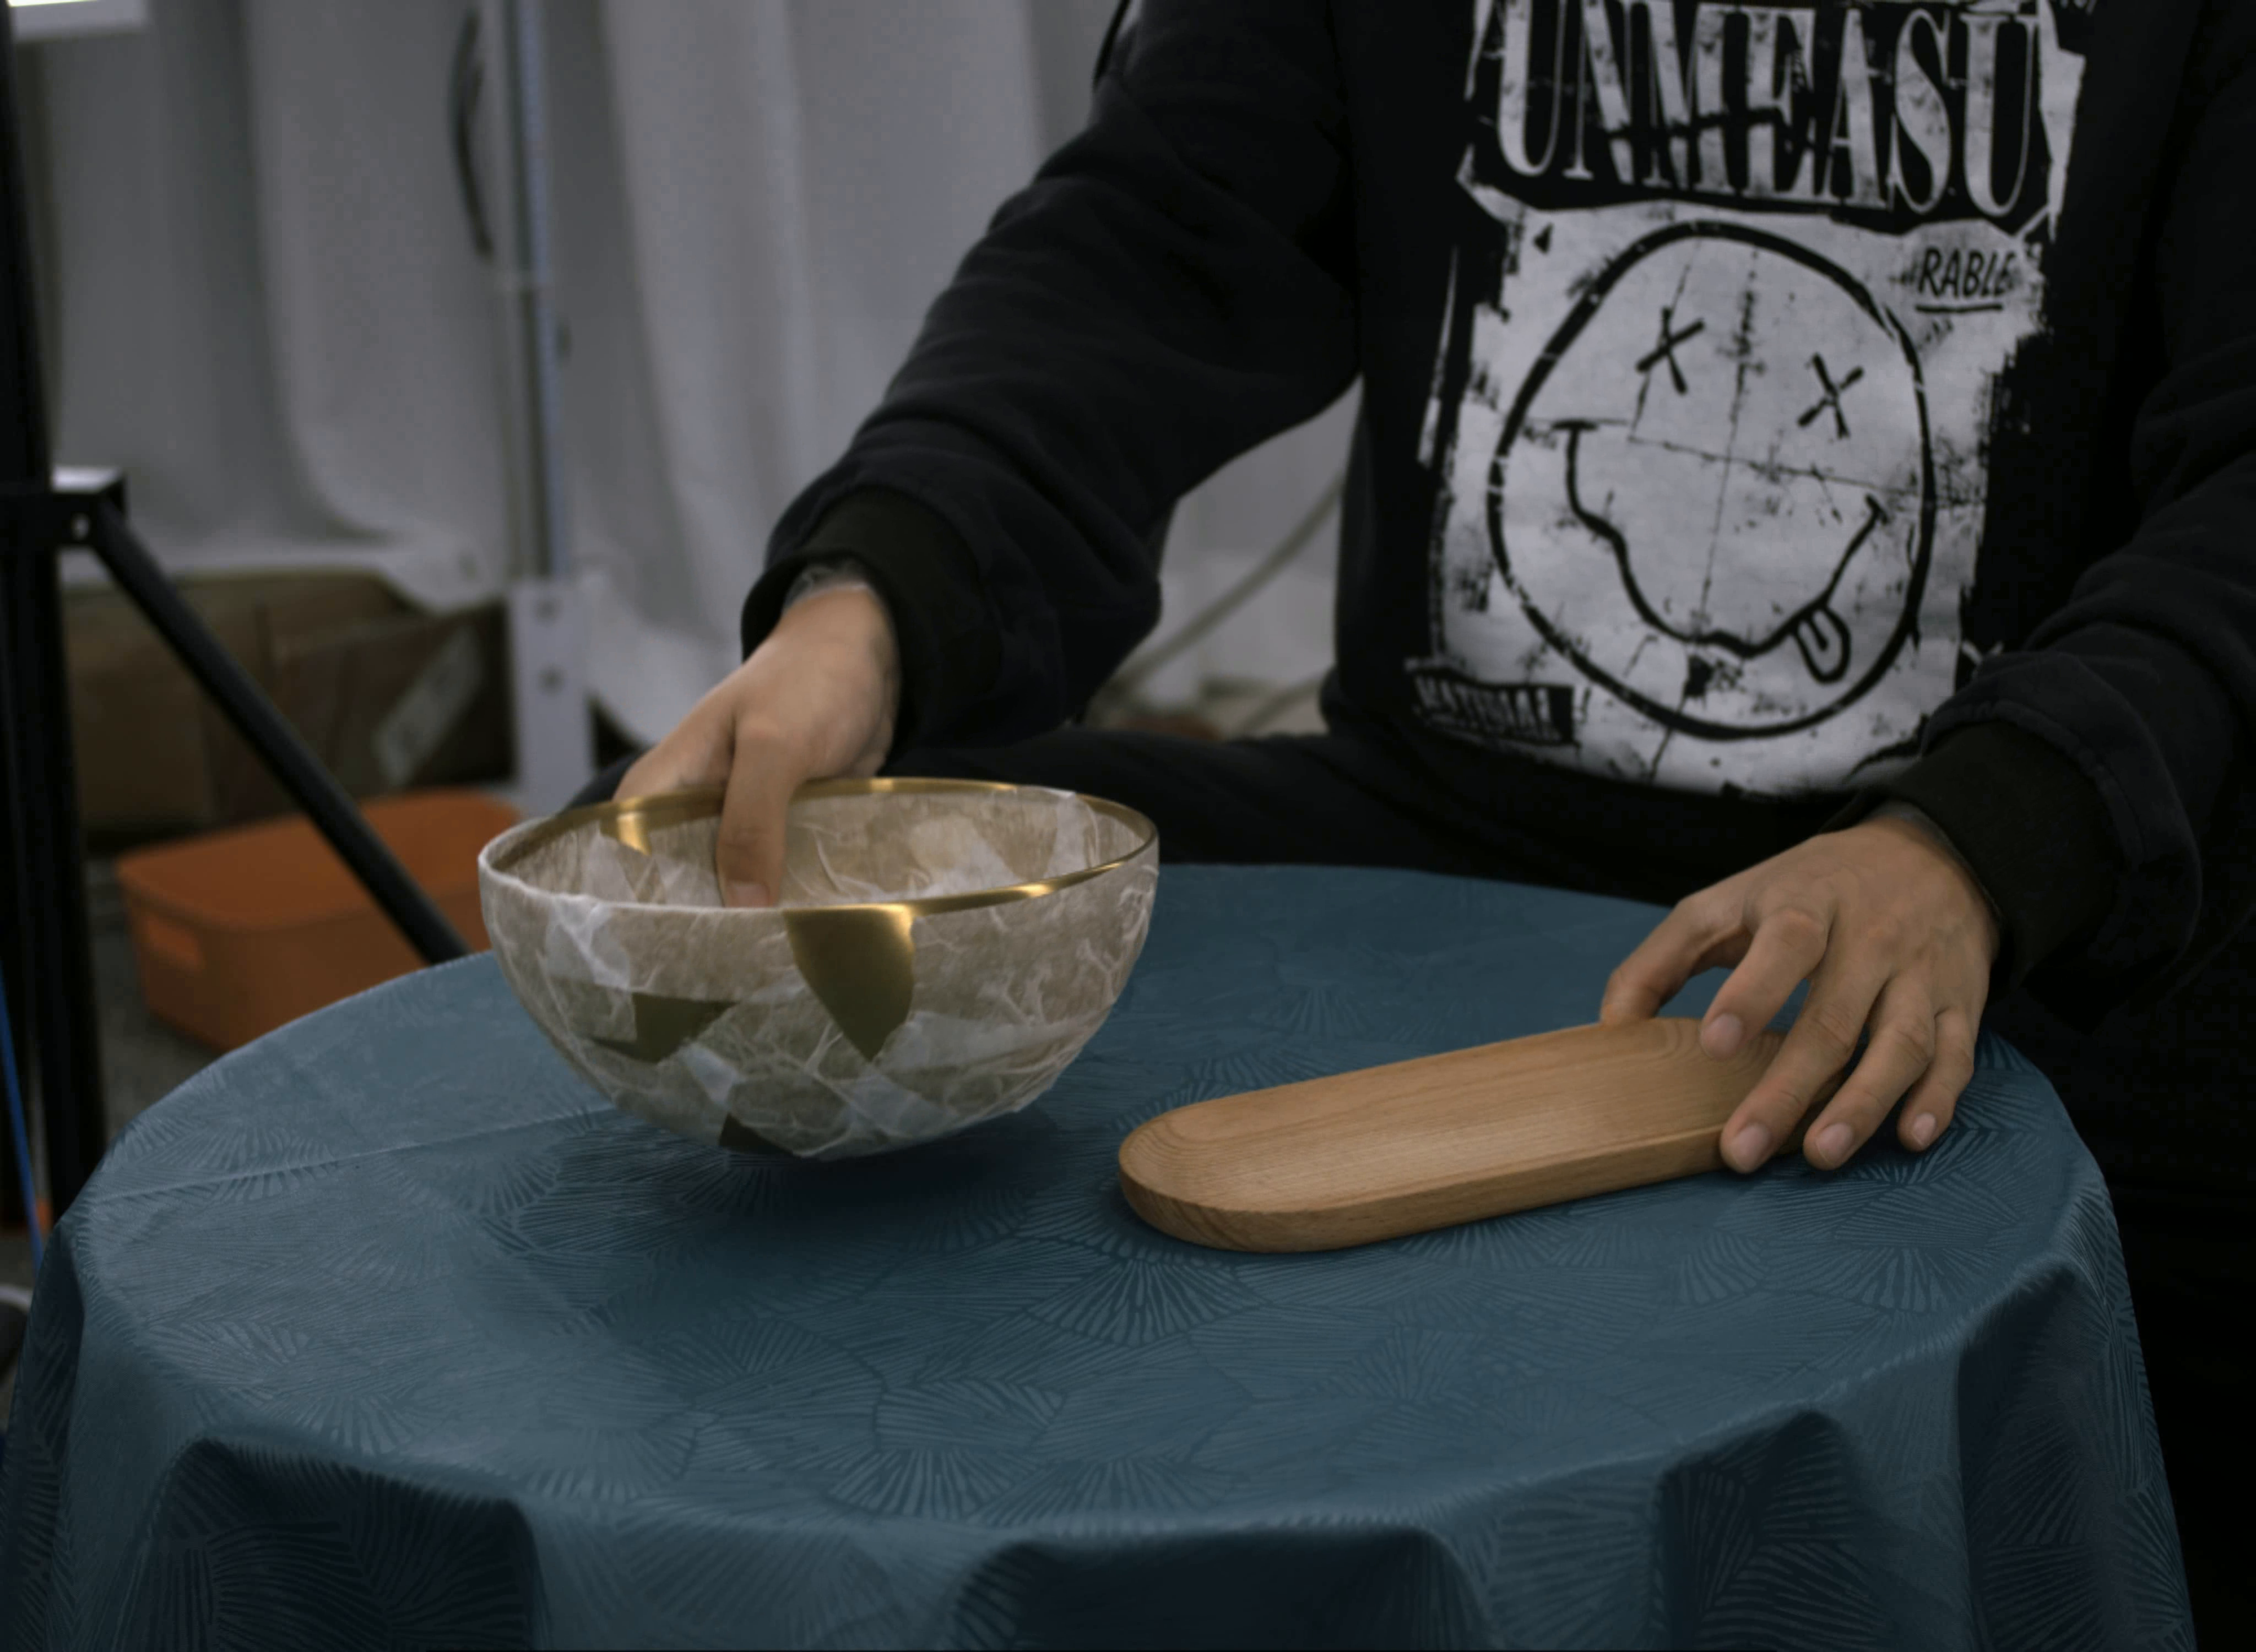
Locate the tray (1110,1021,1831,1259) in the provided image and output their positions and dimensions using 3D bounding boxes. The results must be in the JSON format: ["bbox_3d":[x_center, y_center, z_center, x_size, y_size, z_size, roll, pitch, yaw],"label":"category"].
[{"bbox_3d":[0.103,0.092,1.567,0.226,0.020,0.104,-11,18,-24],"label":"tray"}]

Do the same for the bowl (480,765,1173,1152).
[{"bbox_3d":[-0.085,0.045,1.583,0.213,0.095,0.215,-3,10,-1],"label":"bowl"}]
